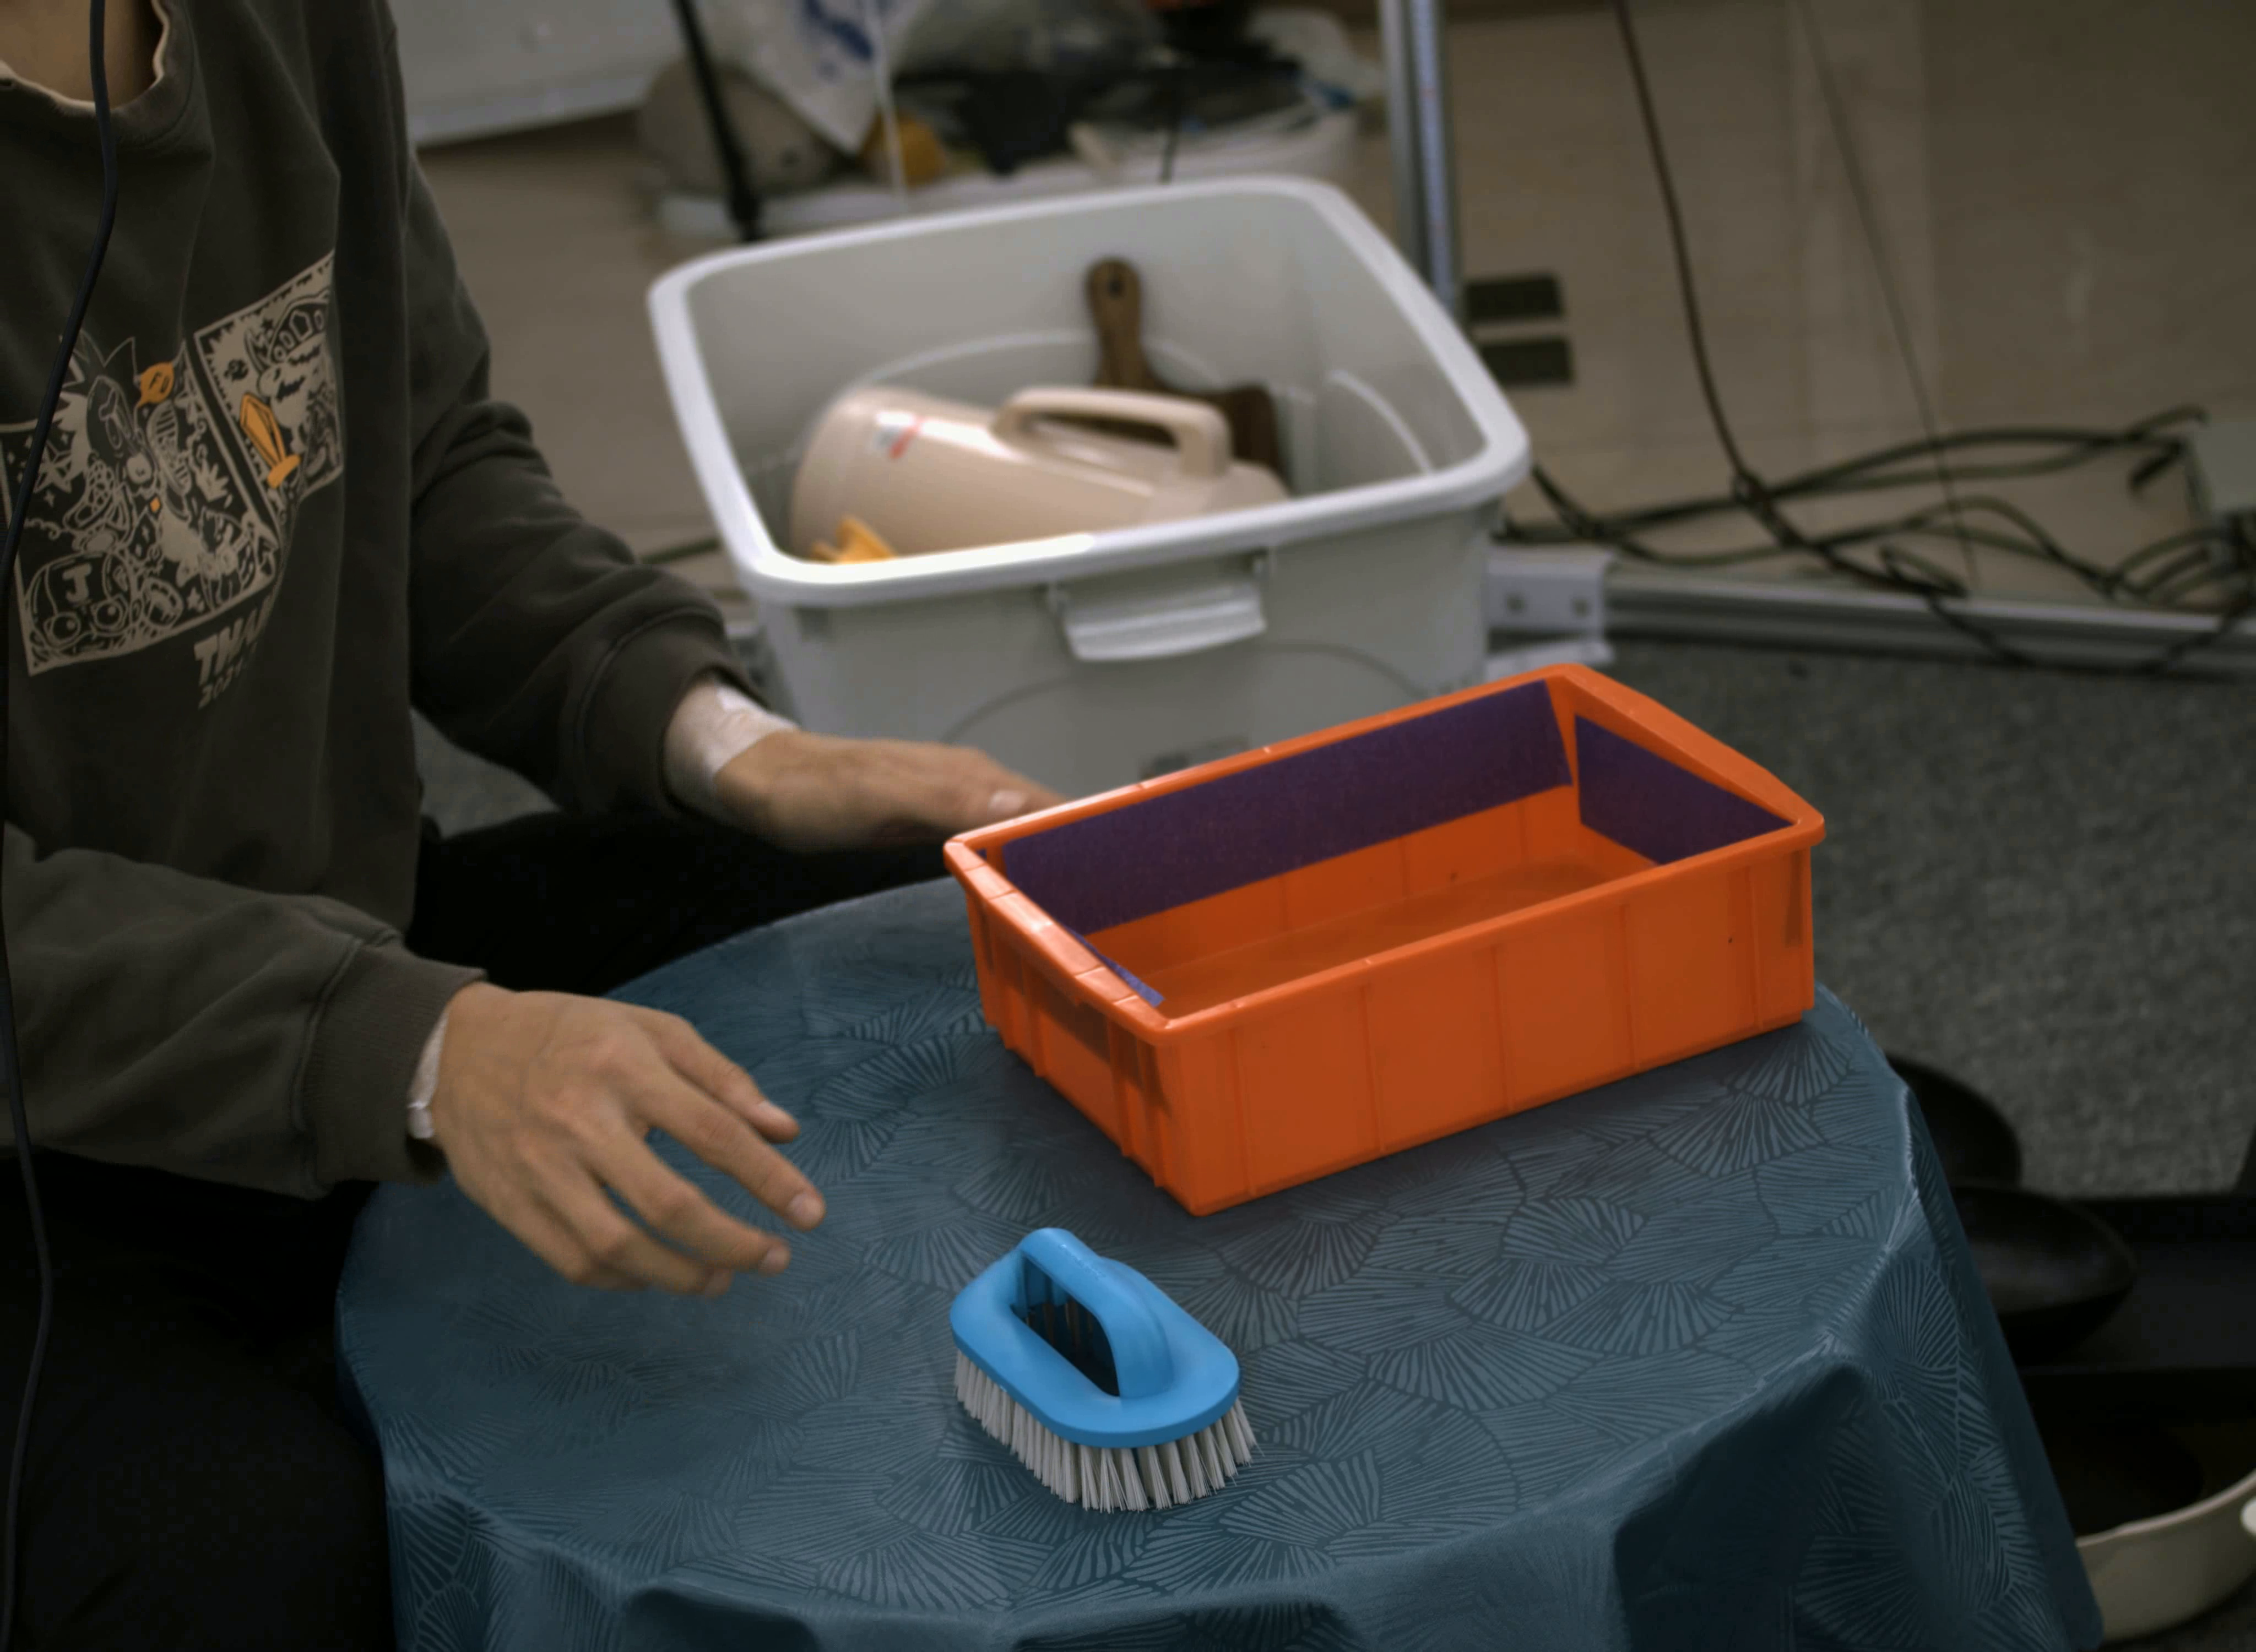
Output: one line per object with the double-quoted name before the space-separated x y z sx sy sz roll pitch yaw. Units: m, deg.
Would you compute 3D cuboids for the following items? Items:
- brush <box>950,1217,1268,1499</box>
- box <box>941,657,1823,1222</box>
"brush" -0.011 0.177 1.988 0.084 0.065 0.140 -21 27 -19
"box" 0.100 0.043 2.224 0.302 0.098 0.204 -16 27 -20
